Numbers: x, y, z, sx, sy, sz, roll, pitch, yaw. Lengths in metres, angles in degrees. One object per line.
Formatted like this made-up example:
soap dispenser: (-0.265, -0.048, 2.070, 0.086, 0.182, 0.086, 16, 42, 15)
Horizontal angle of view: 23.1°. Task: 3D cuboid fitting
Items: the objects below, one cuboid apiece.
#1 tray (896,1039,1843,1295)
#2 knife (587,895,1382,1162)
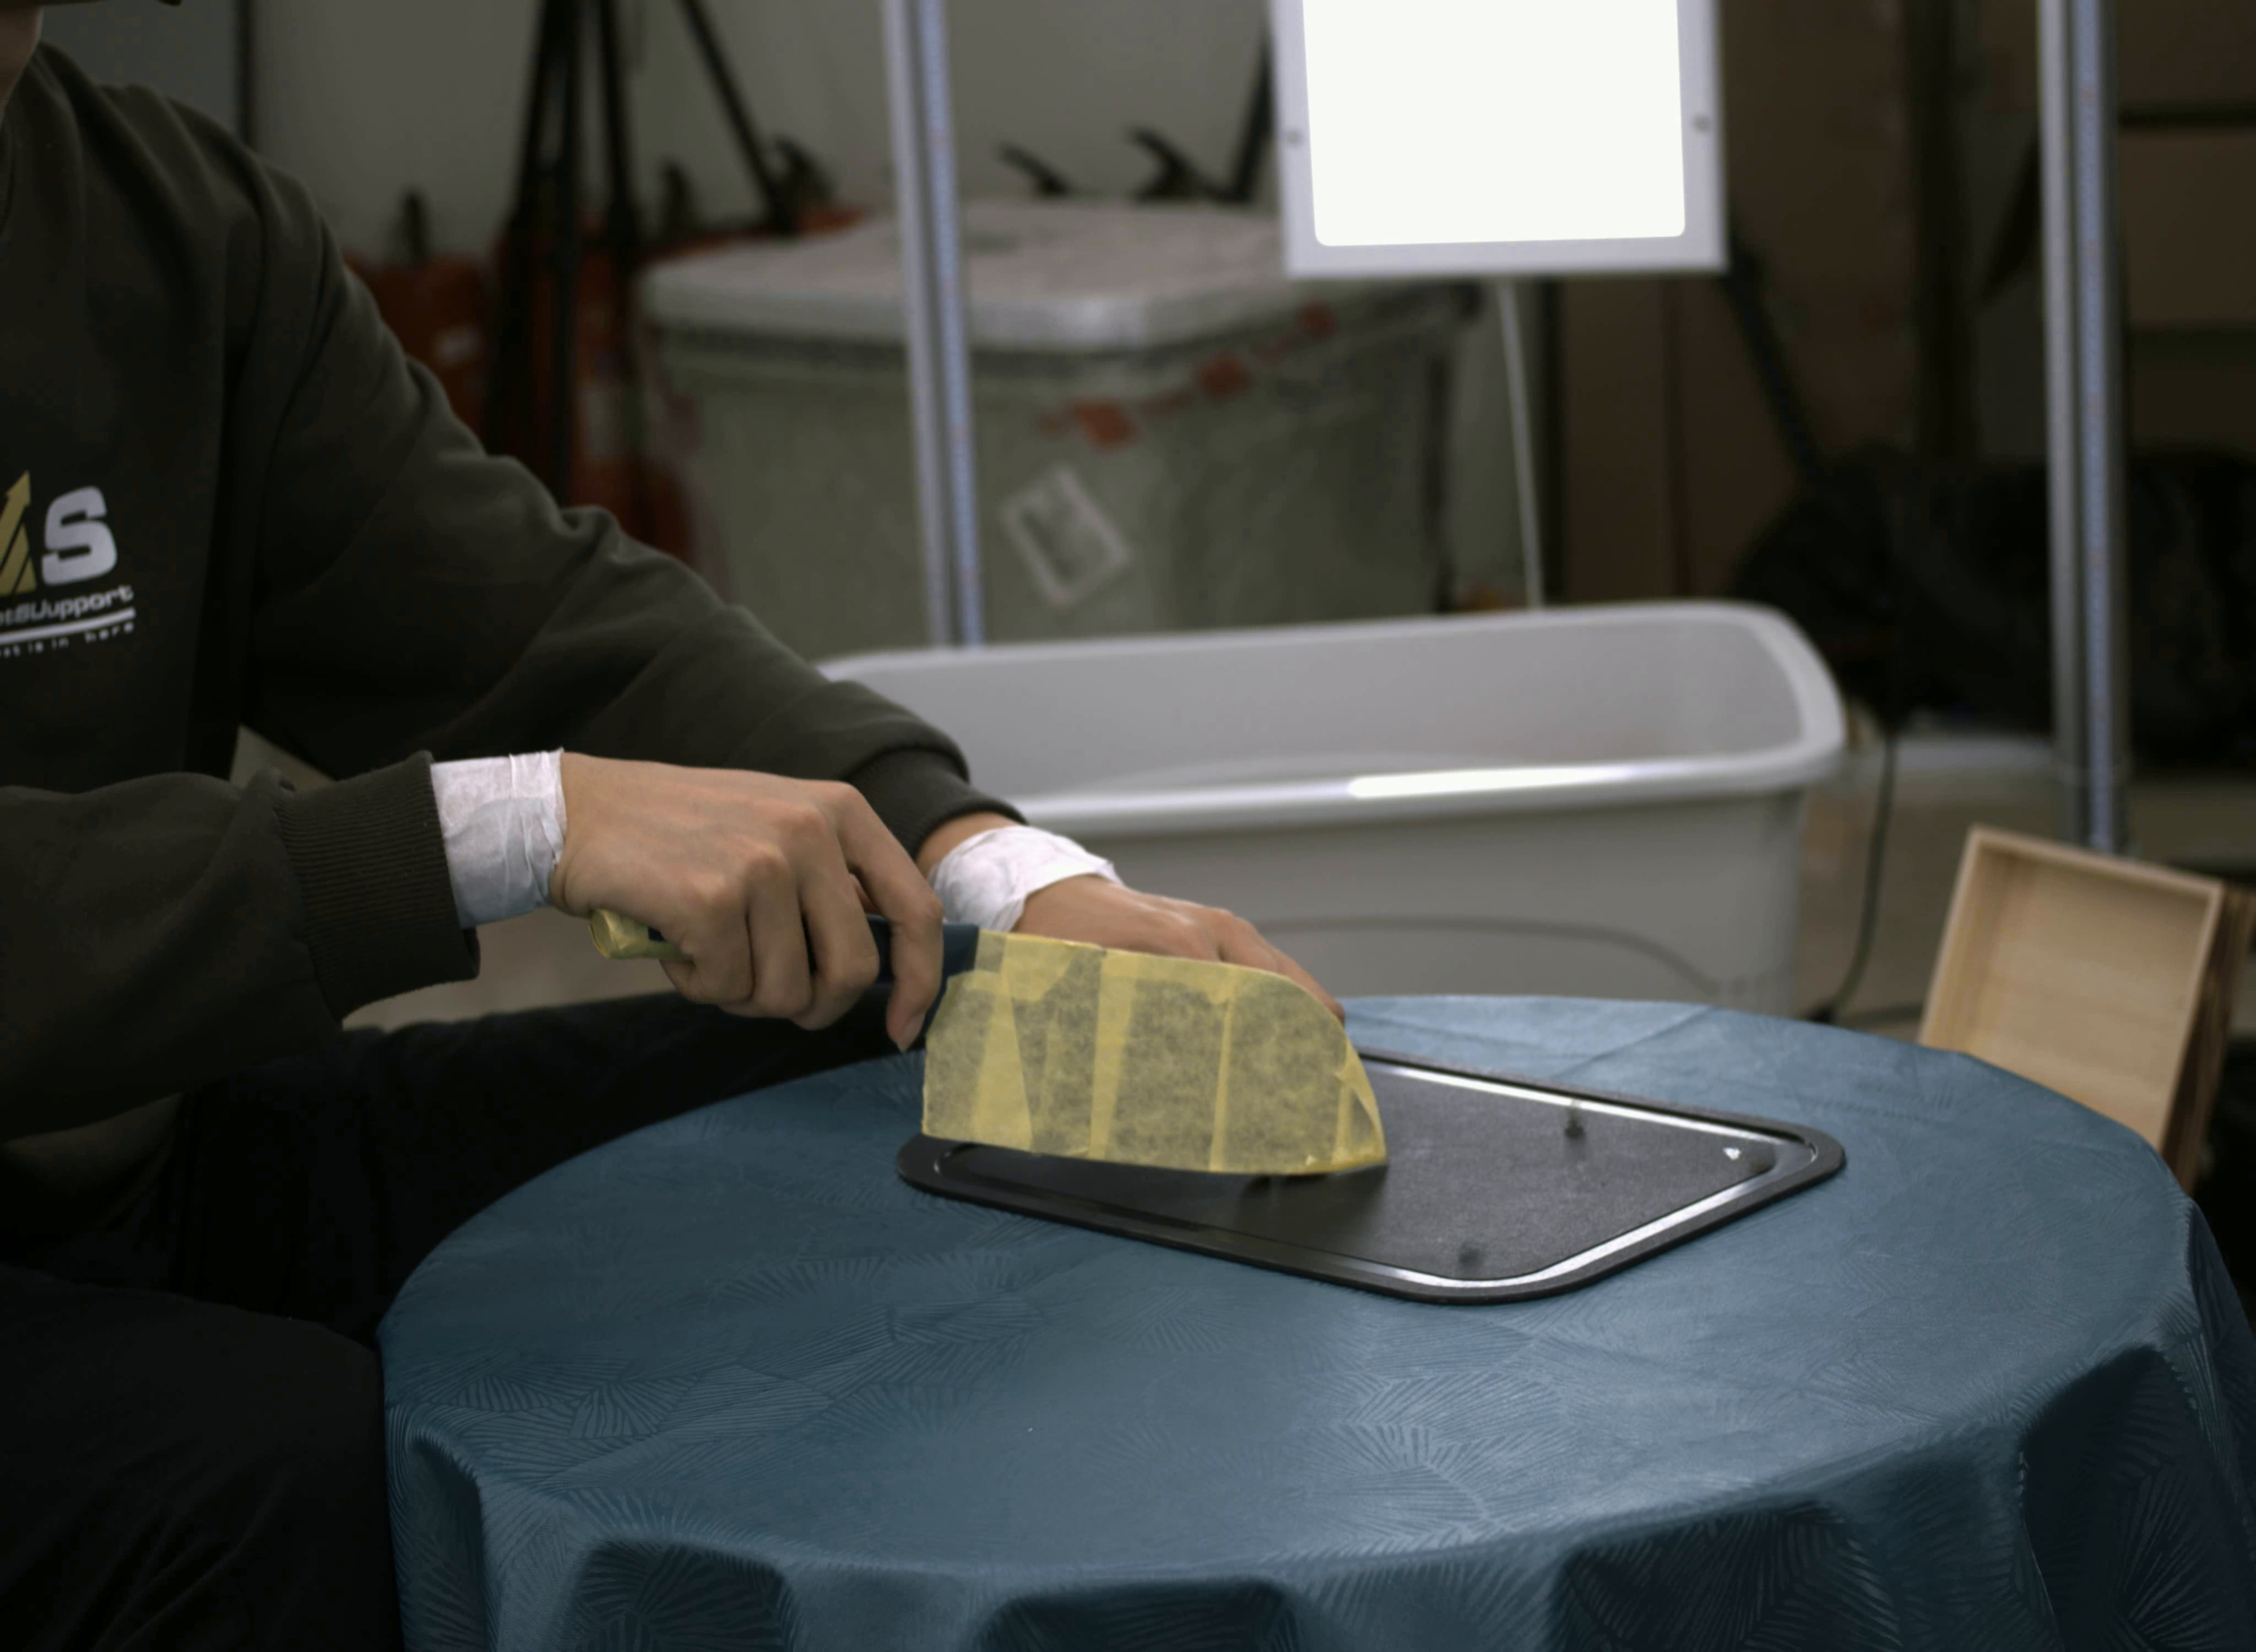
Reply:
tray: (0.075, 0.113, 1.916, 0.332, 0.010, 0.206, 9, 19, 45)
knife: (-0.045, 0.068, 1.861, 0.285, 0.081, 0.027, 11, -12, -16)
